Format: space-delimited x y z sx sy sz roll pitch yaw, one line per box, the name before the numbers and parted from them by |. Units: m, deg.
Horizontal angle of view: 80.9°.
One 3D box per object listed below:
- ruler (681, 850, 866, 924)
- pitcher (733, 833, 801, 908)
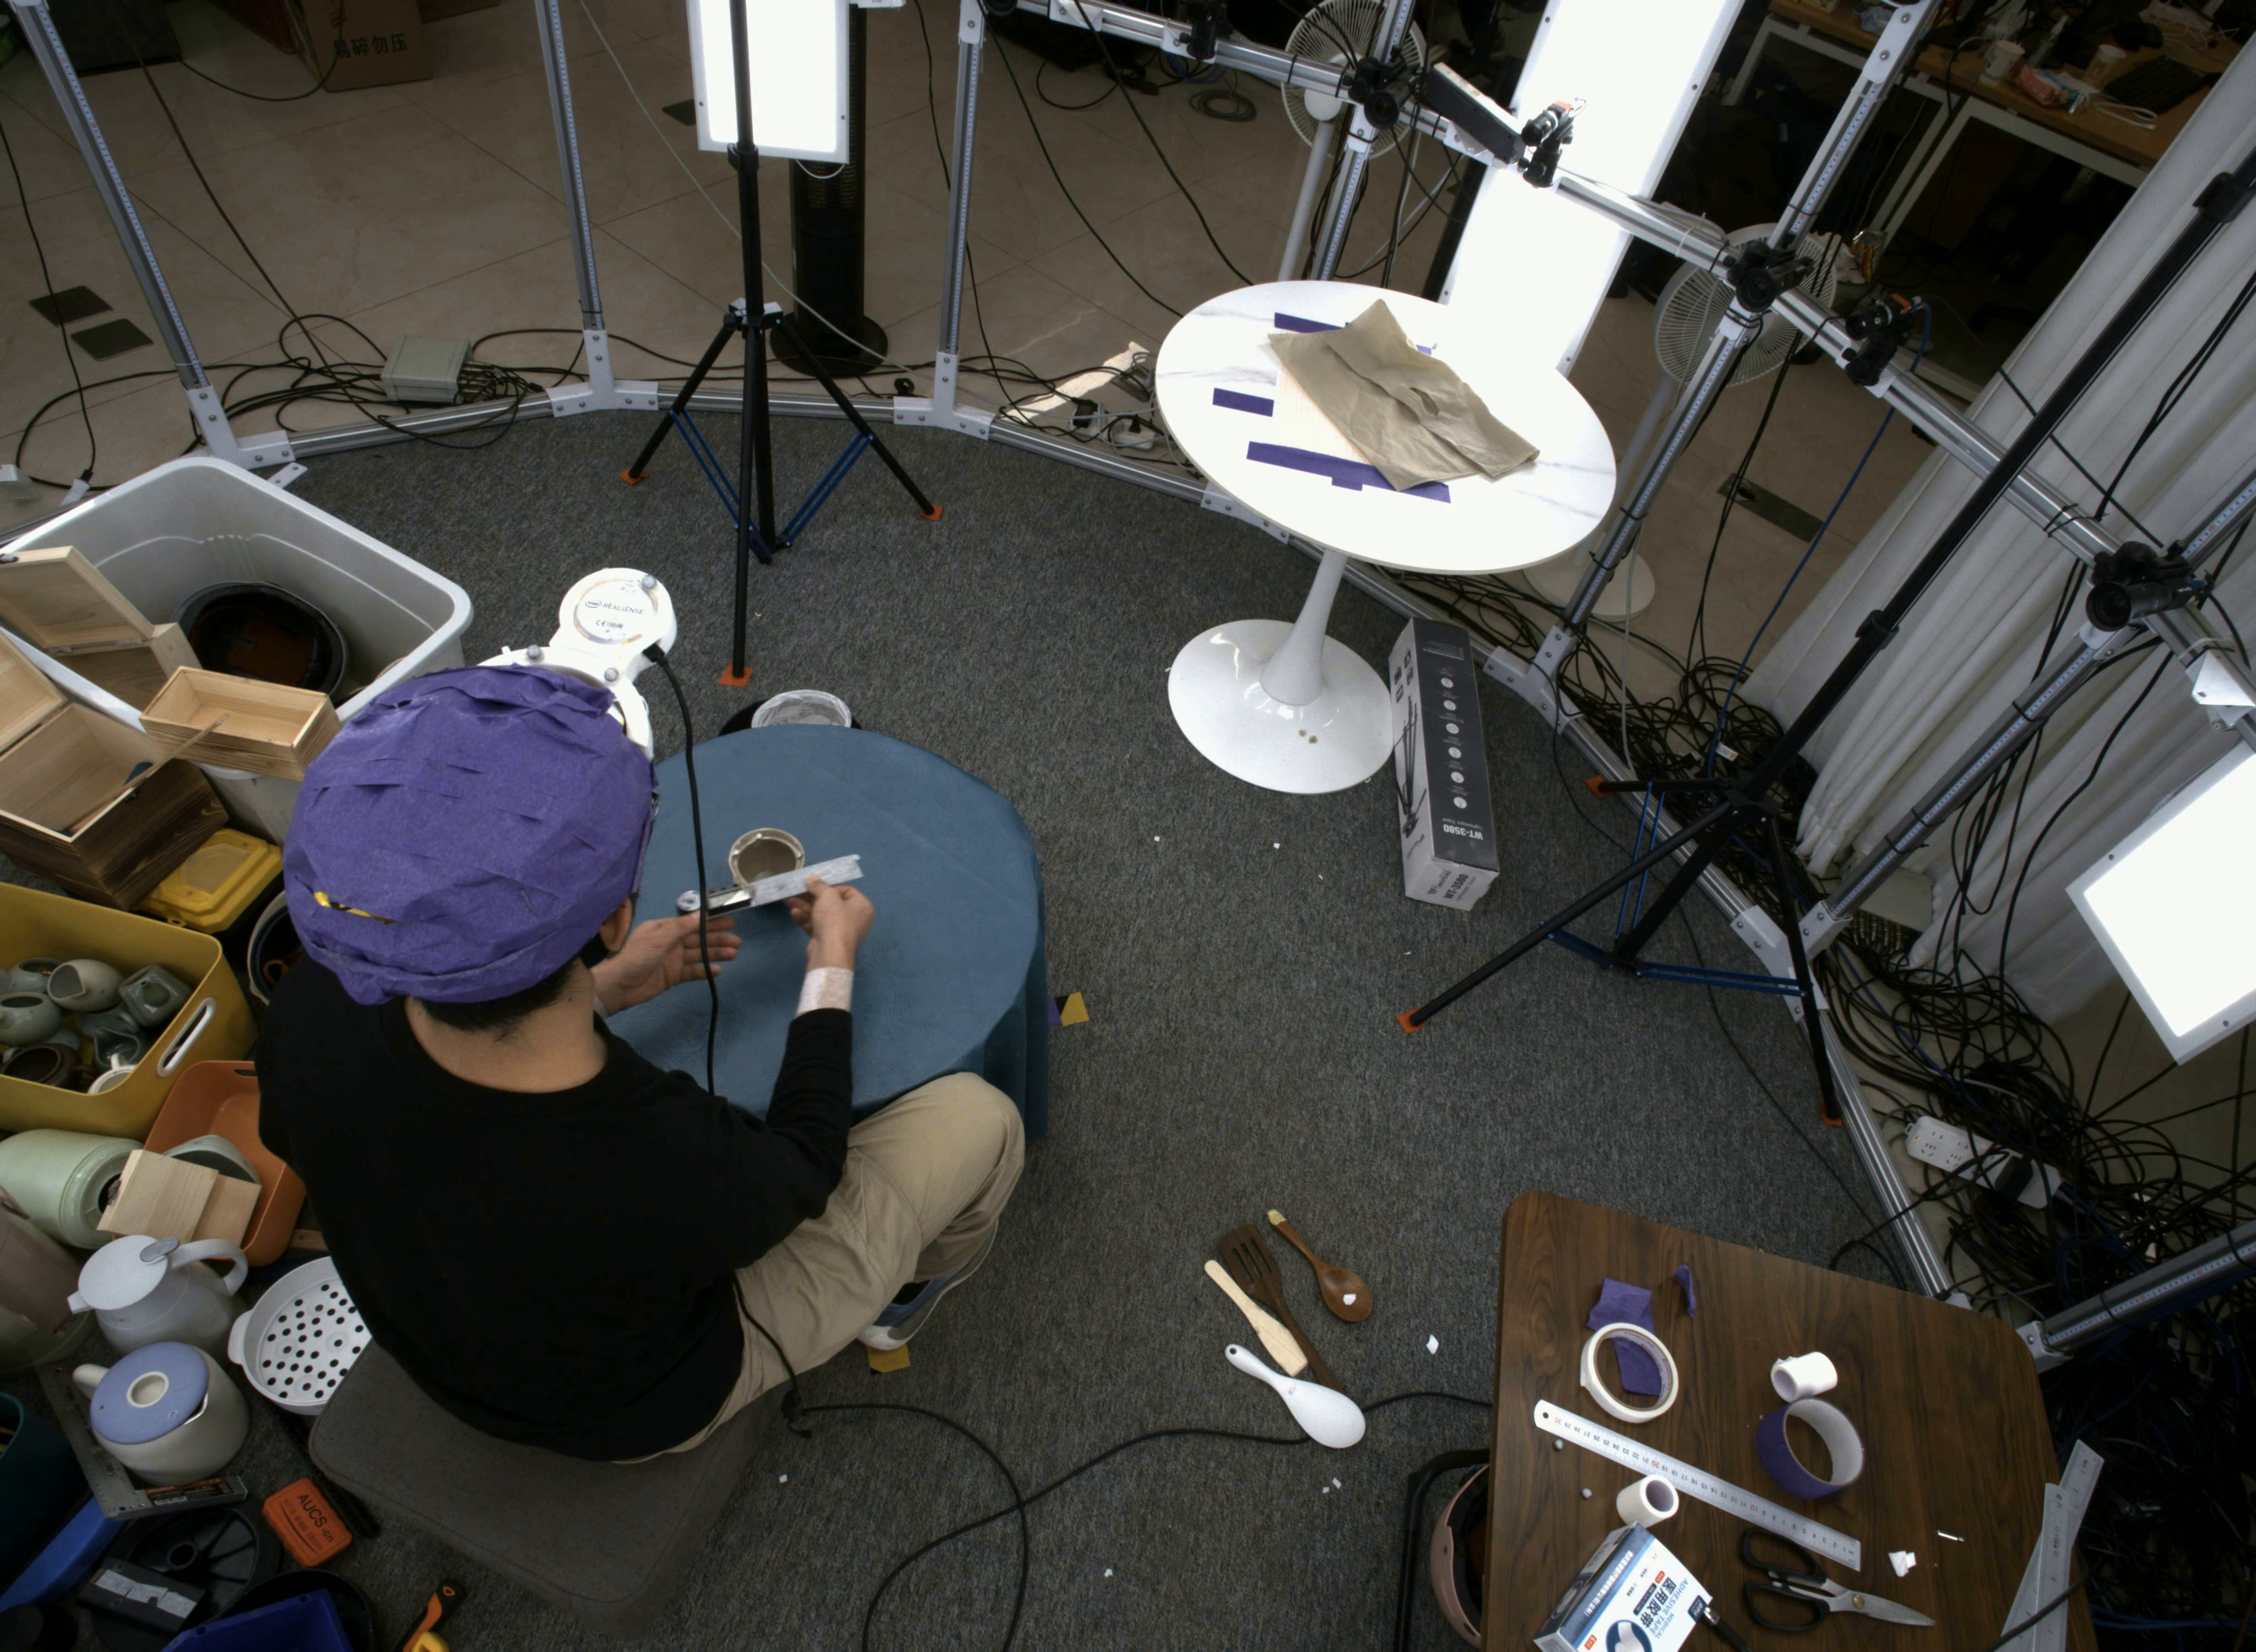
ruler | -0.414 0.065 1.511 0.219 0.024 0.037 -17 64 -26
pitcher | -0.454 0.062 1.617 0.082 0.073 0.096 32 52 11
